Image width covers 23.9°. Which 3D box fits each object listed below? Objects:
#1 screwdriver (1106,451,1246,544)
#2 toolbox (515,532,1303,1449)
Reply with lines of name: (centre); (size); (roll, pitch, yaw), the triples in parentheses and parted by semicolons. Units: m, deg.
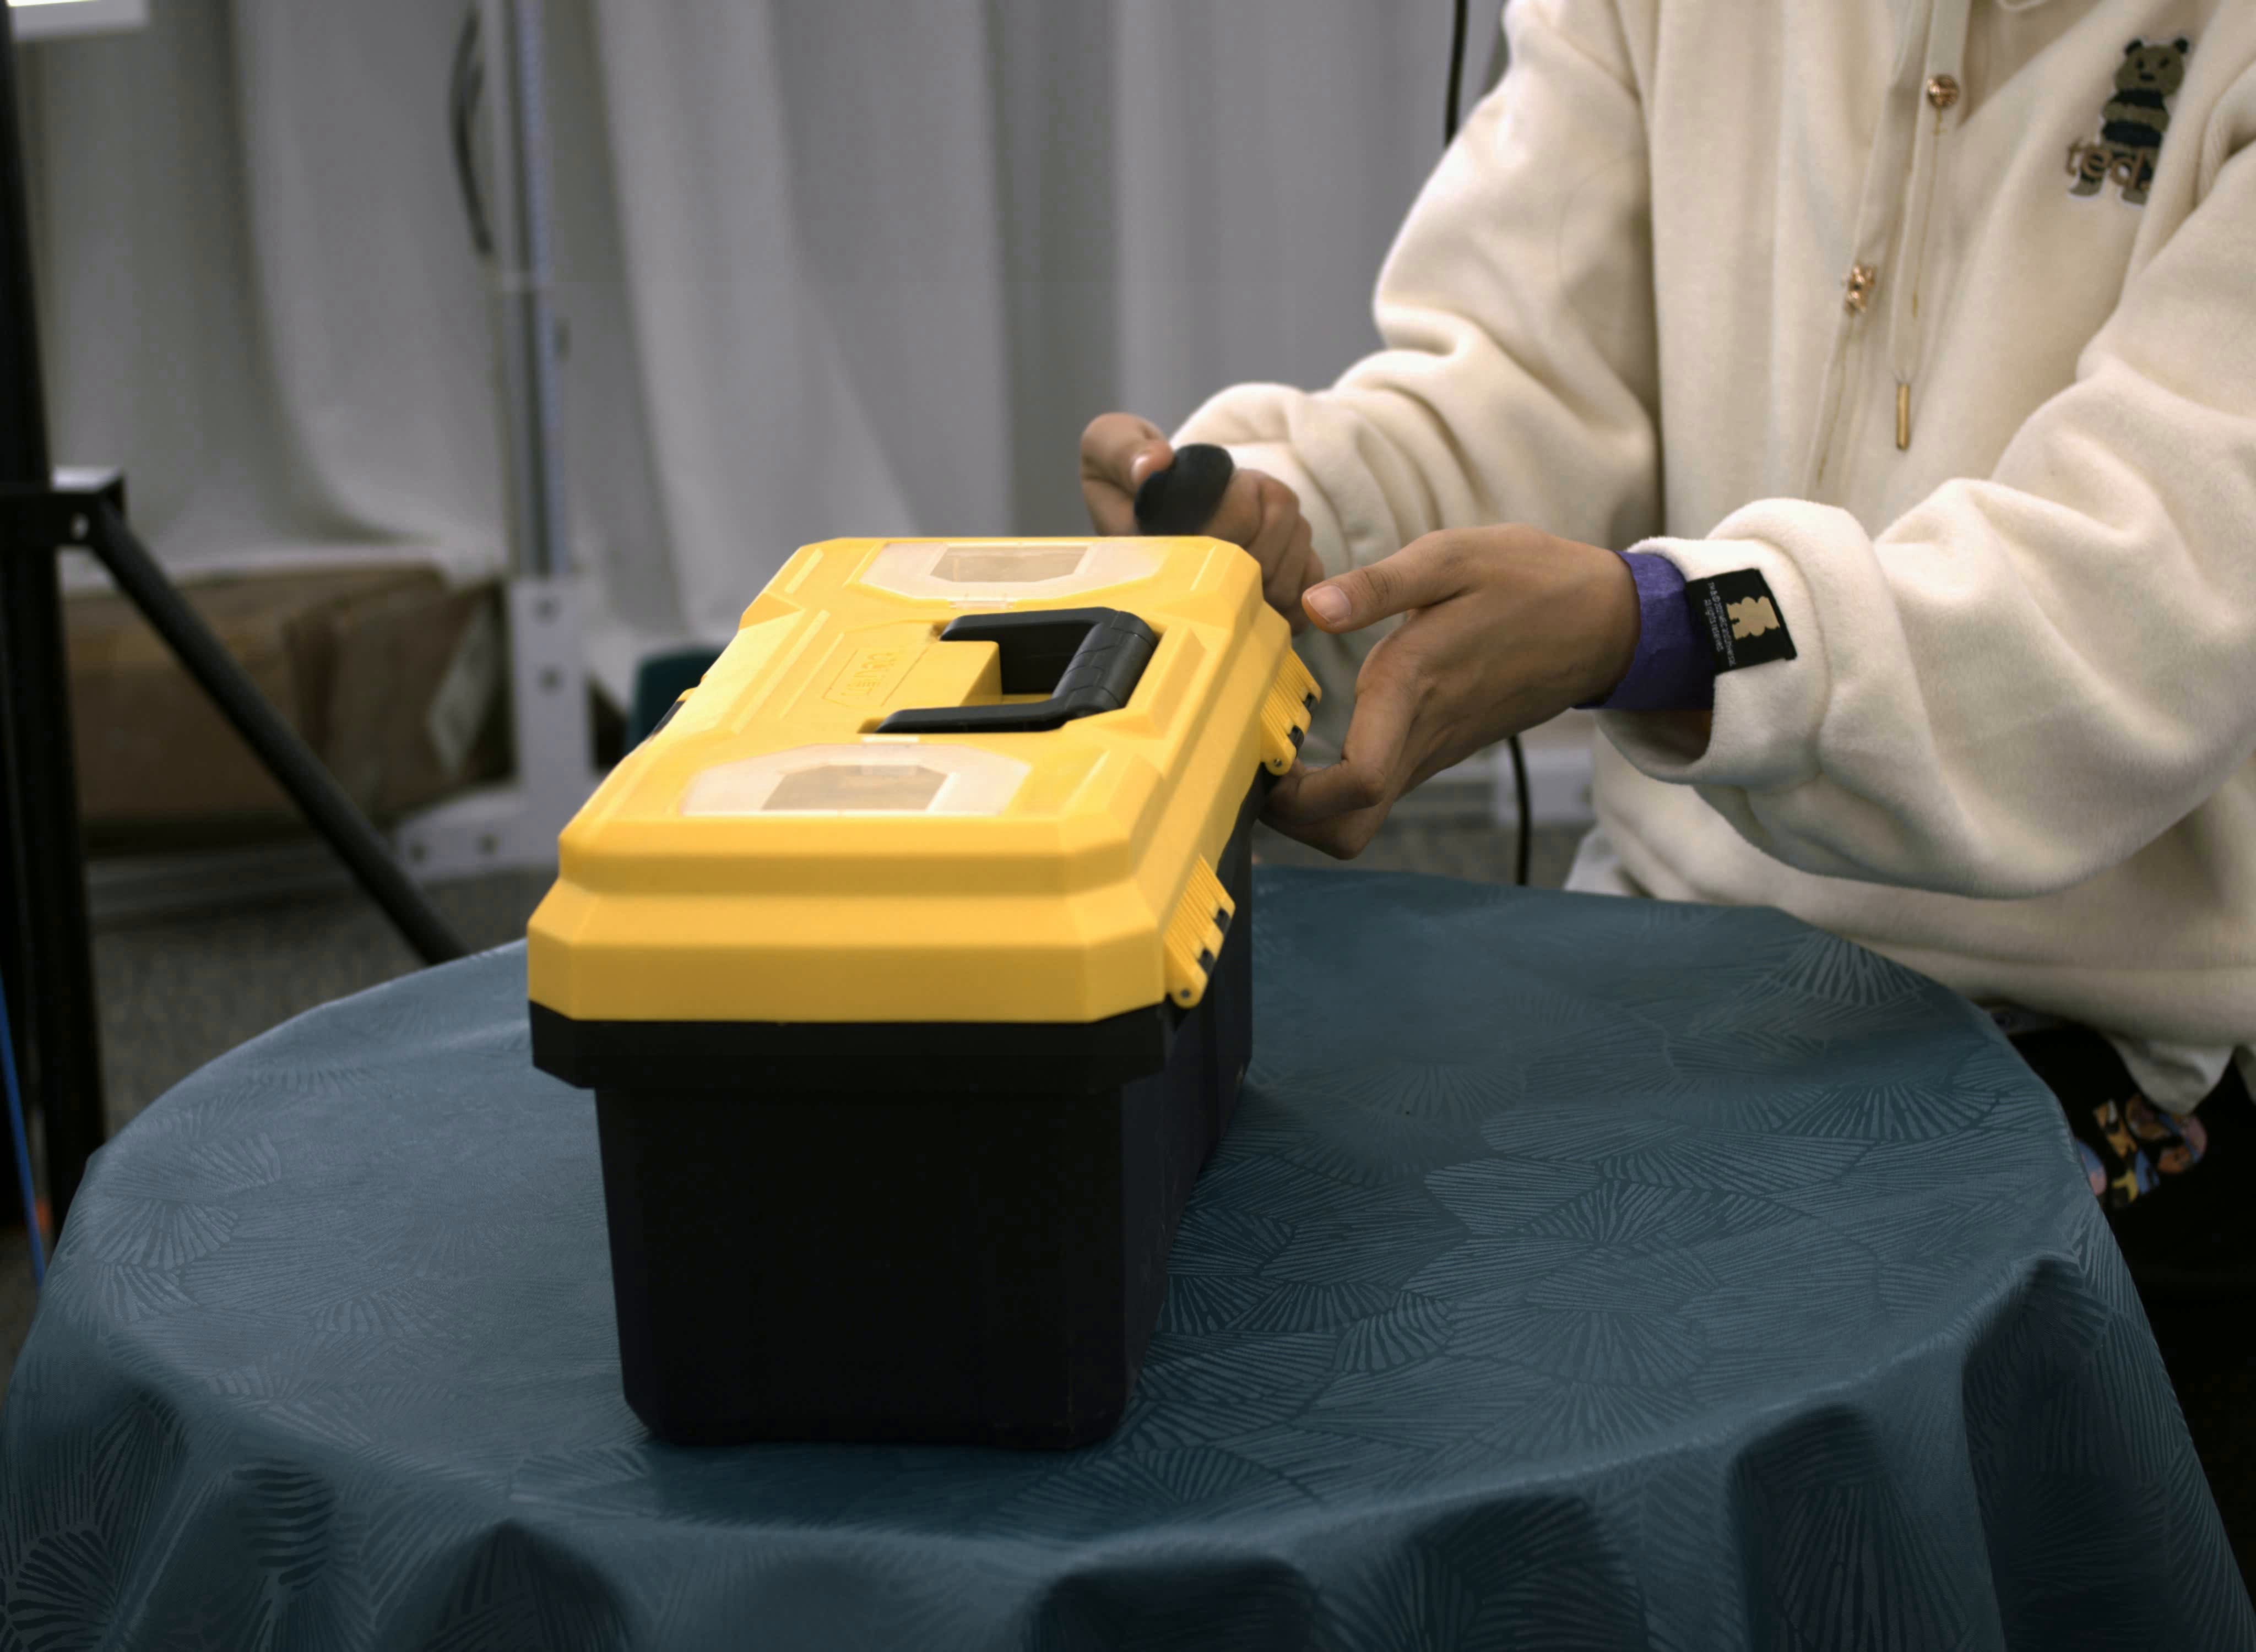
screwdriver: (0.013, -0.098, 1.719); (0.031, 0.031, 0.195); (1, 11, 10)
toolbox: (-0.049, 0.037, 1.501); (0.182, 0.173, 0.350); (0, 16, 9)
